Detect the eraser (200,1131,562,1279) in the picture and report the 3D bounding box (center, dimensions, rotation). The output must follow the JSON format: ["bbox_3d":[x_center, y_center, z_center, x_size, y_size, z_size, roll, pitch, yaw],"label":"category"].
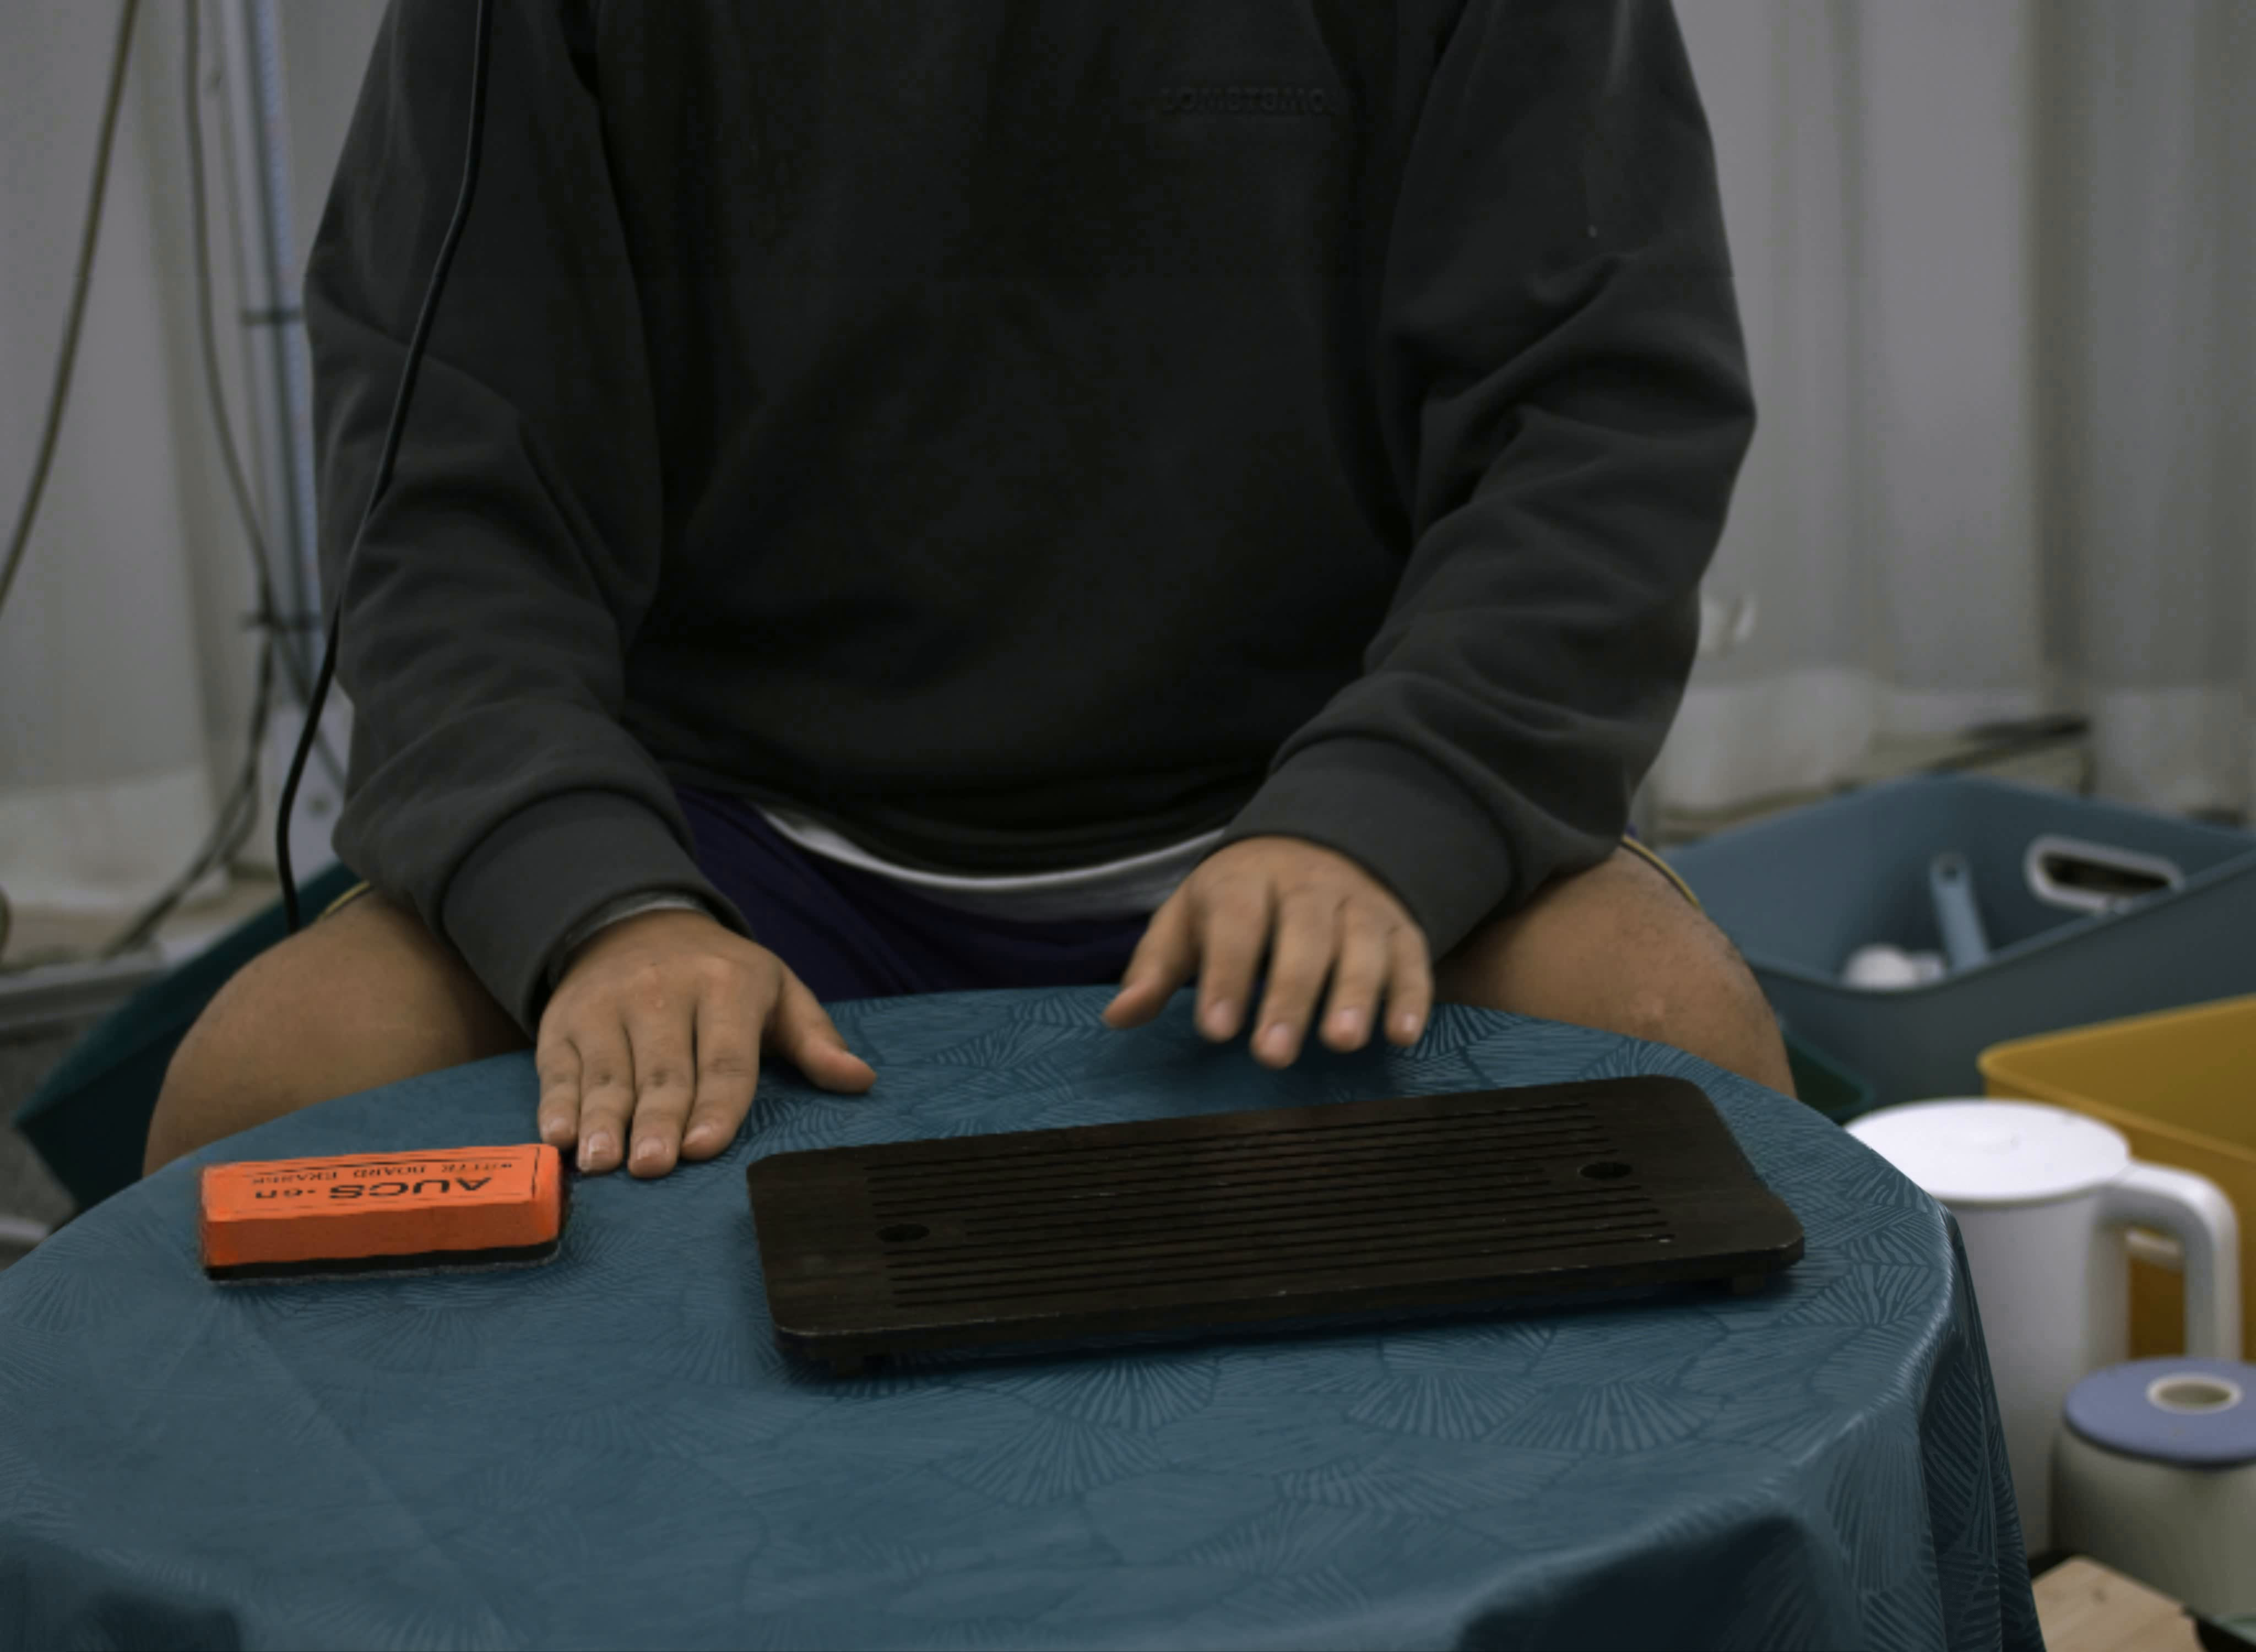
[{"bbox_3d":[-0.230,0.117,1.694,0.107,0.023,0.059,-5,15,-2],"label":"eraser"}]

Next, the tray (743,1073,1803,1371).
[{"bbox_3d":[0.039,0.119,1.656,0.305,0.018,0.171,-5,15,-6],"label":"tray"}]
